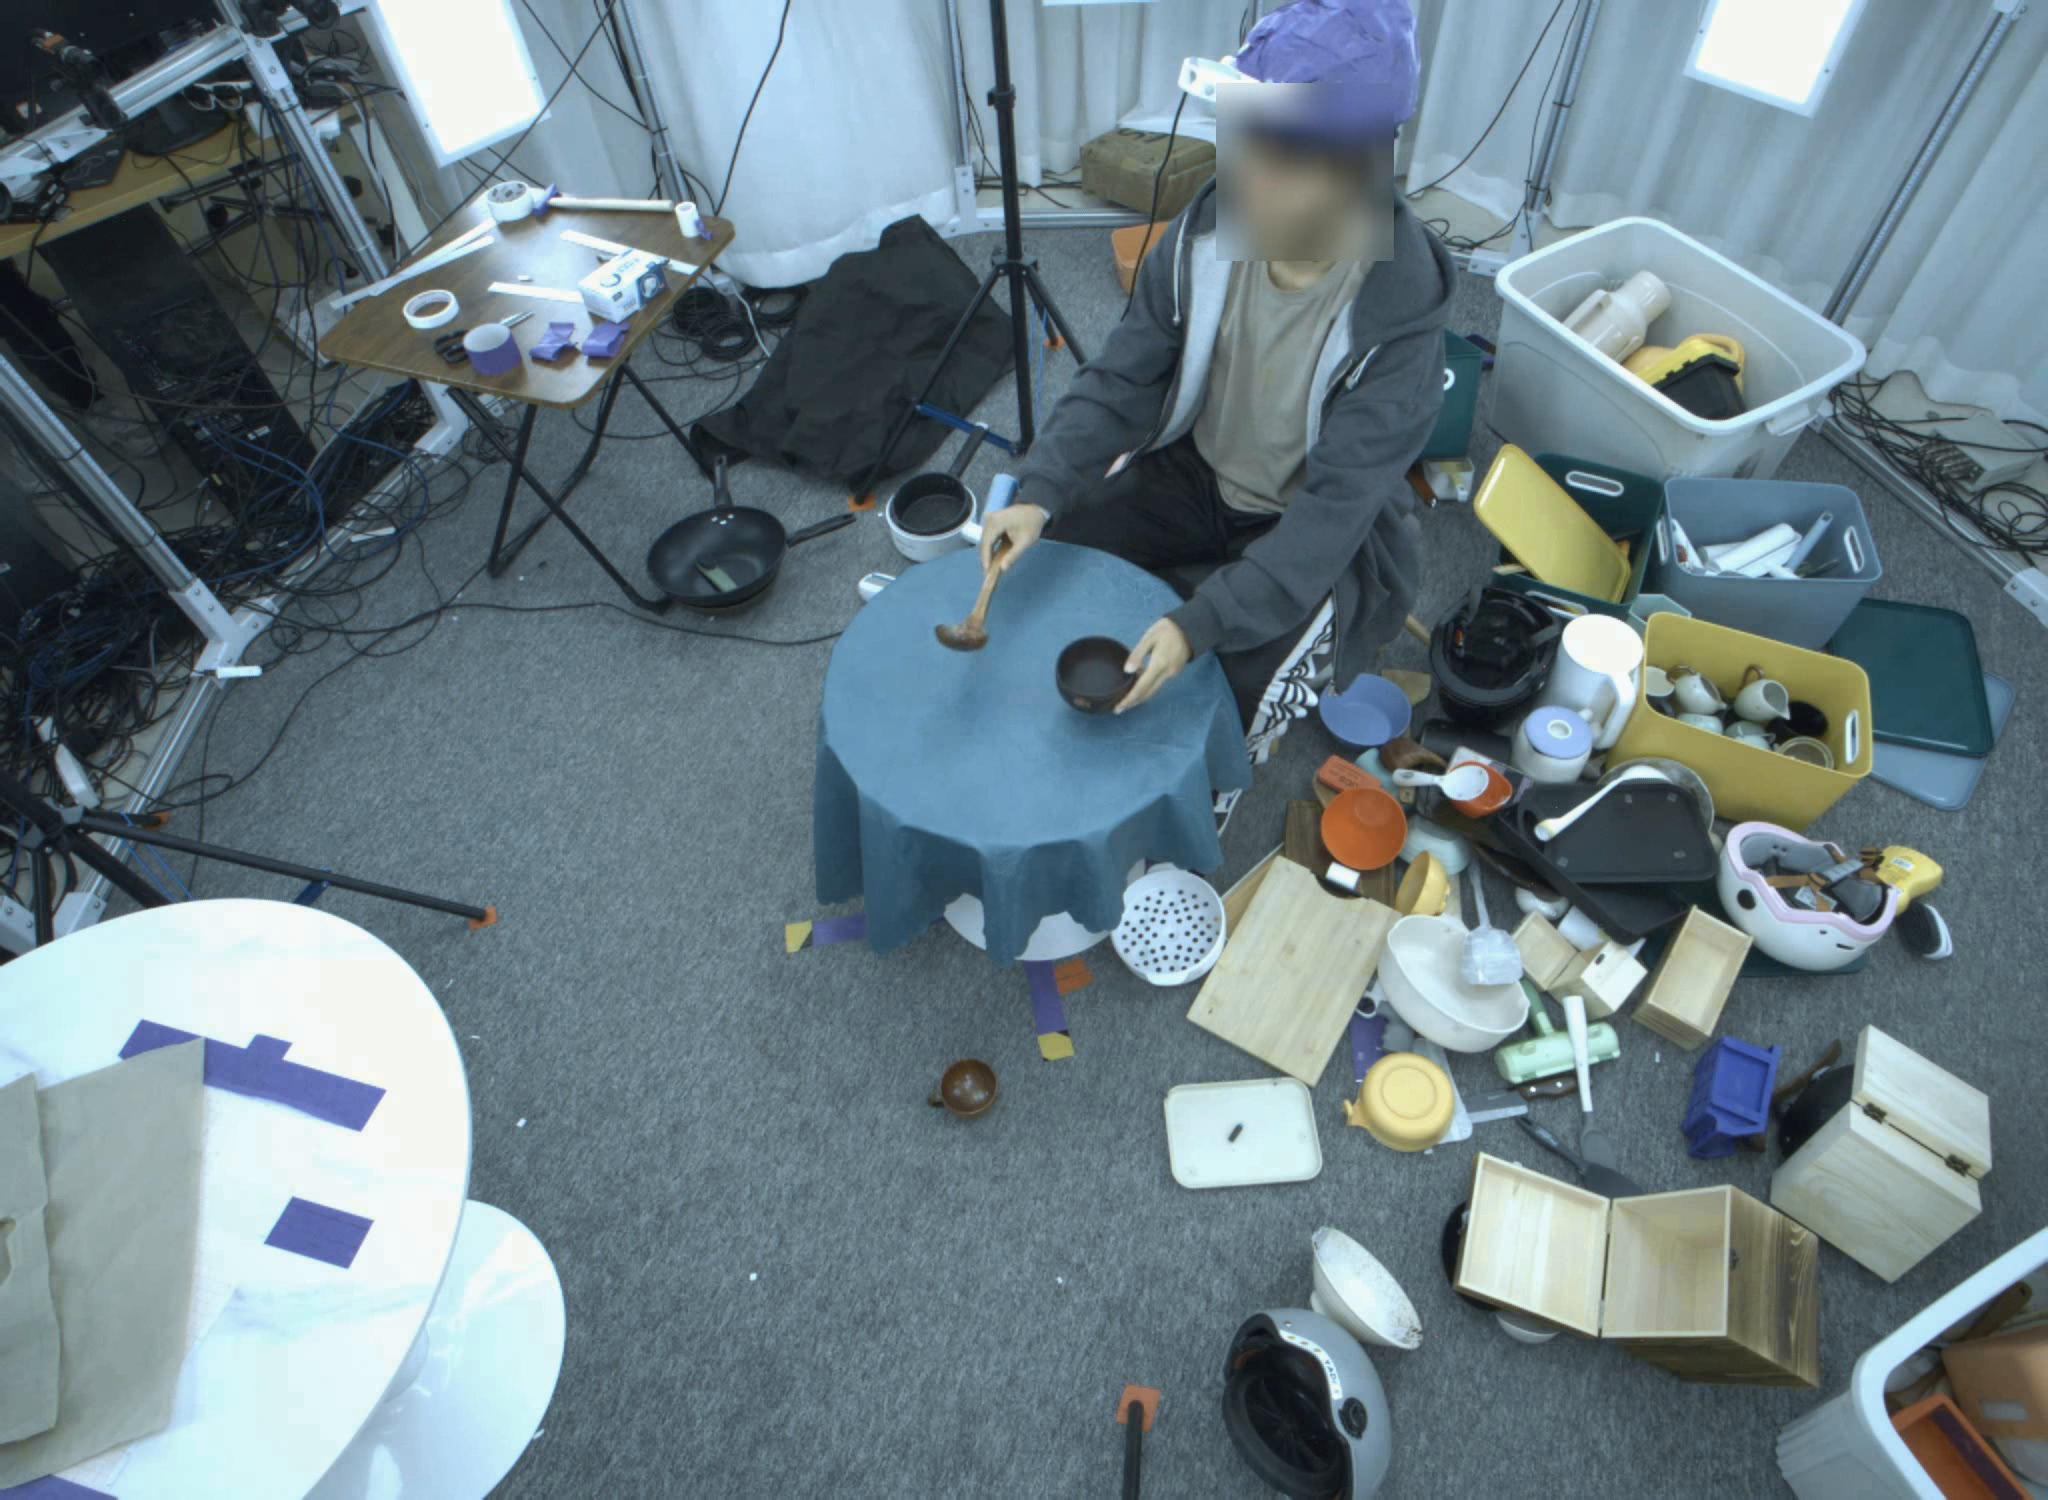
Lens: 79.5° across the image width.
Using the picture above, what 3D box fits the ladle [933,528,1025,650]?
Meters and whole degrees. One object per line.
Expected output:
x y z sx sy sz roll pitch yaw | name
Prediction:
-0.059 -0.254 1.827 0.081 0.077 0.273 13 59 13 | ladle

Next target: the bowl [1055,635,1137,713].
0.104 -0.102 1.779 0.118 0.070 0.117 -1 54 2 | bowl
